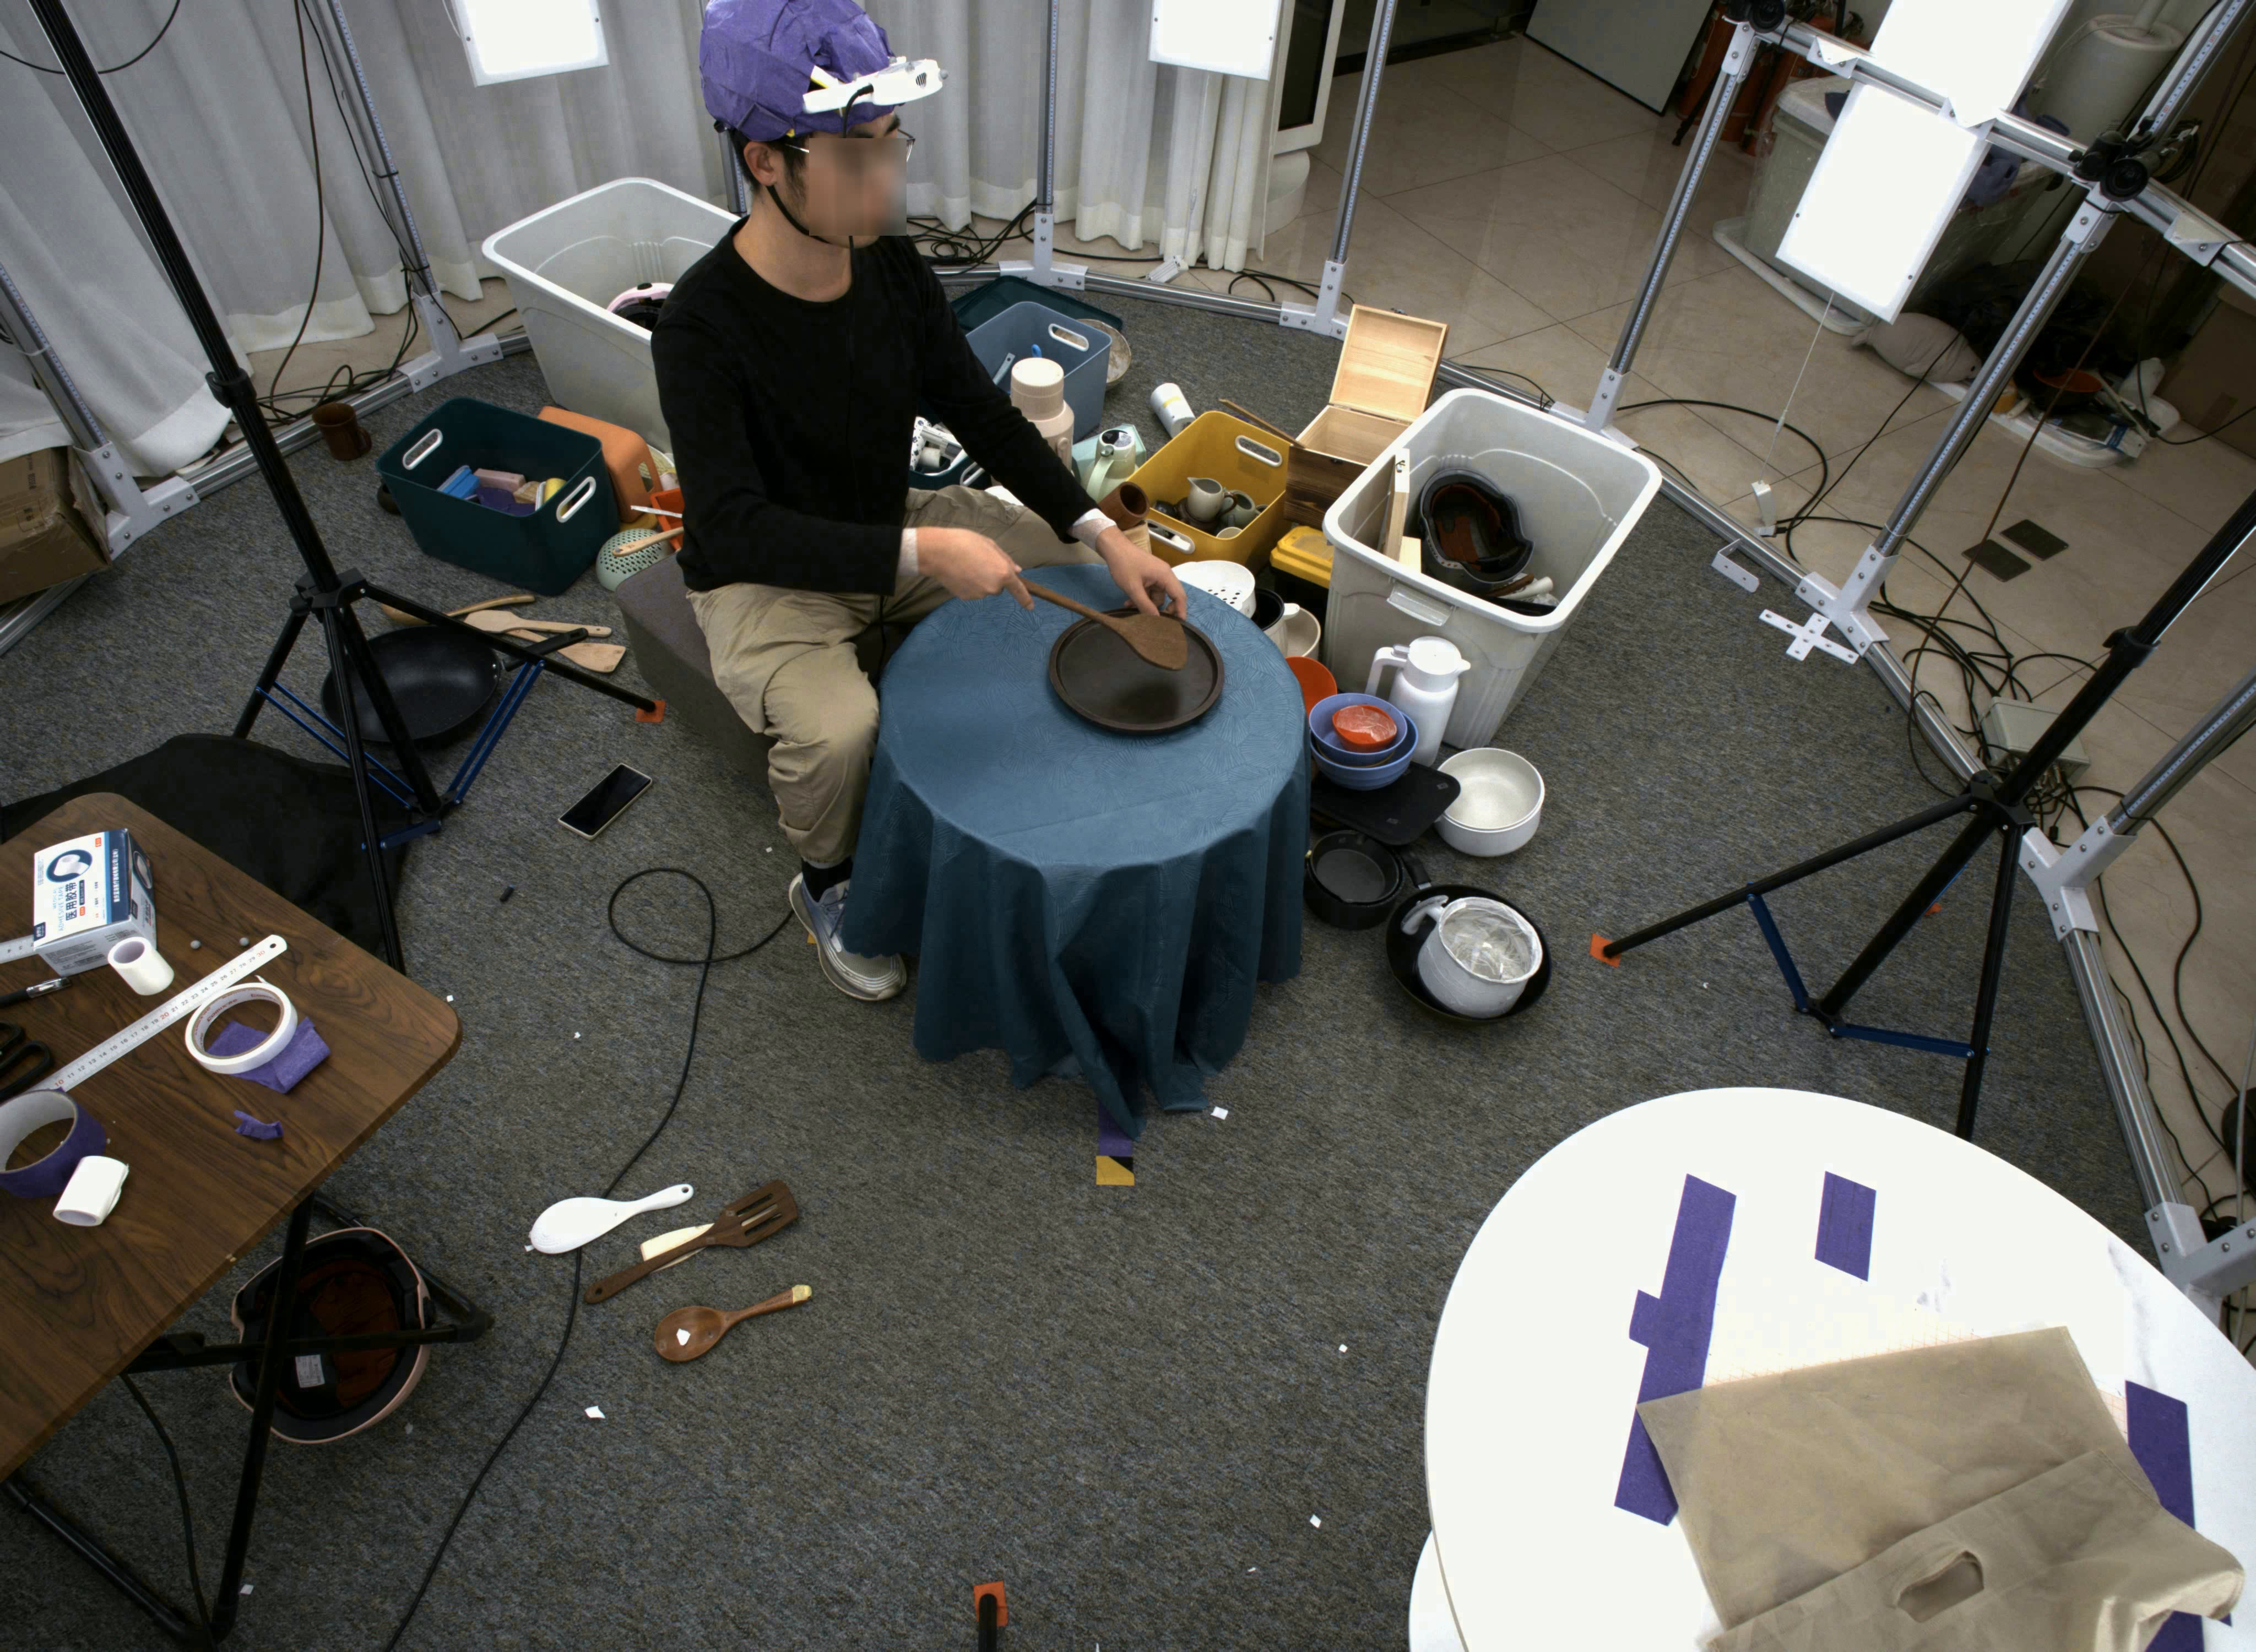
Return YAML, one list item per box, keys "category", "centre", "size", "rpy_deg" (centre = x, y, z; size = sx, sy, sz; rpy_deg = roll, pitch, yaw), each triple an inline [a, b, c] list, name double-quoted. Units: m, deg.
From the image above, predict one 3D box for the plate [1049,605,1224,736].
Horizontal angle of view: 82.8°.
- category: "plate"
  centre: [0.012, -0.223, 1.848]
  size: [0.254, 0.028, 0.261]
  rpy_deg: [1, 50, -2]

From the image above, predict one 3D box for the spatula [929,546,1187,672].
- category: "spatula"
  centre: [-0.085, -0.298, 1.728]
  size: [0.382, 0.015, 0.098]
  rpy_deg: [18, 51, -23]
